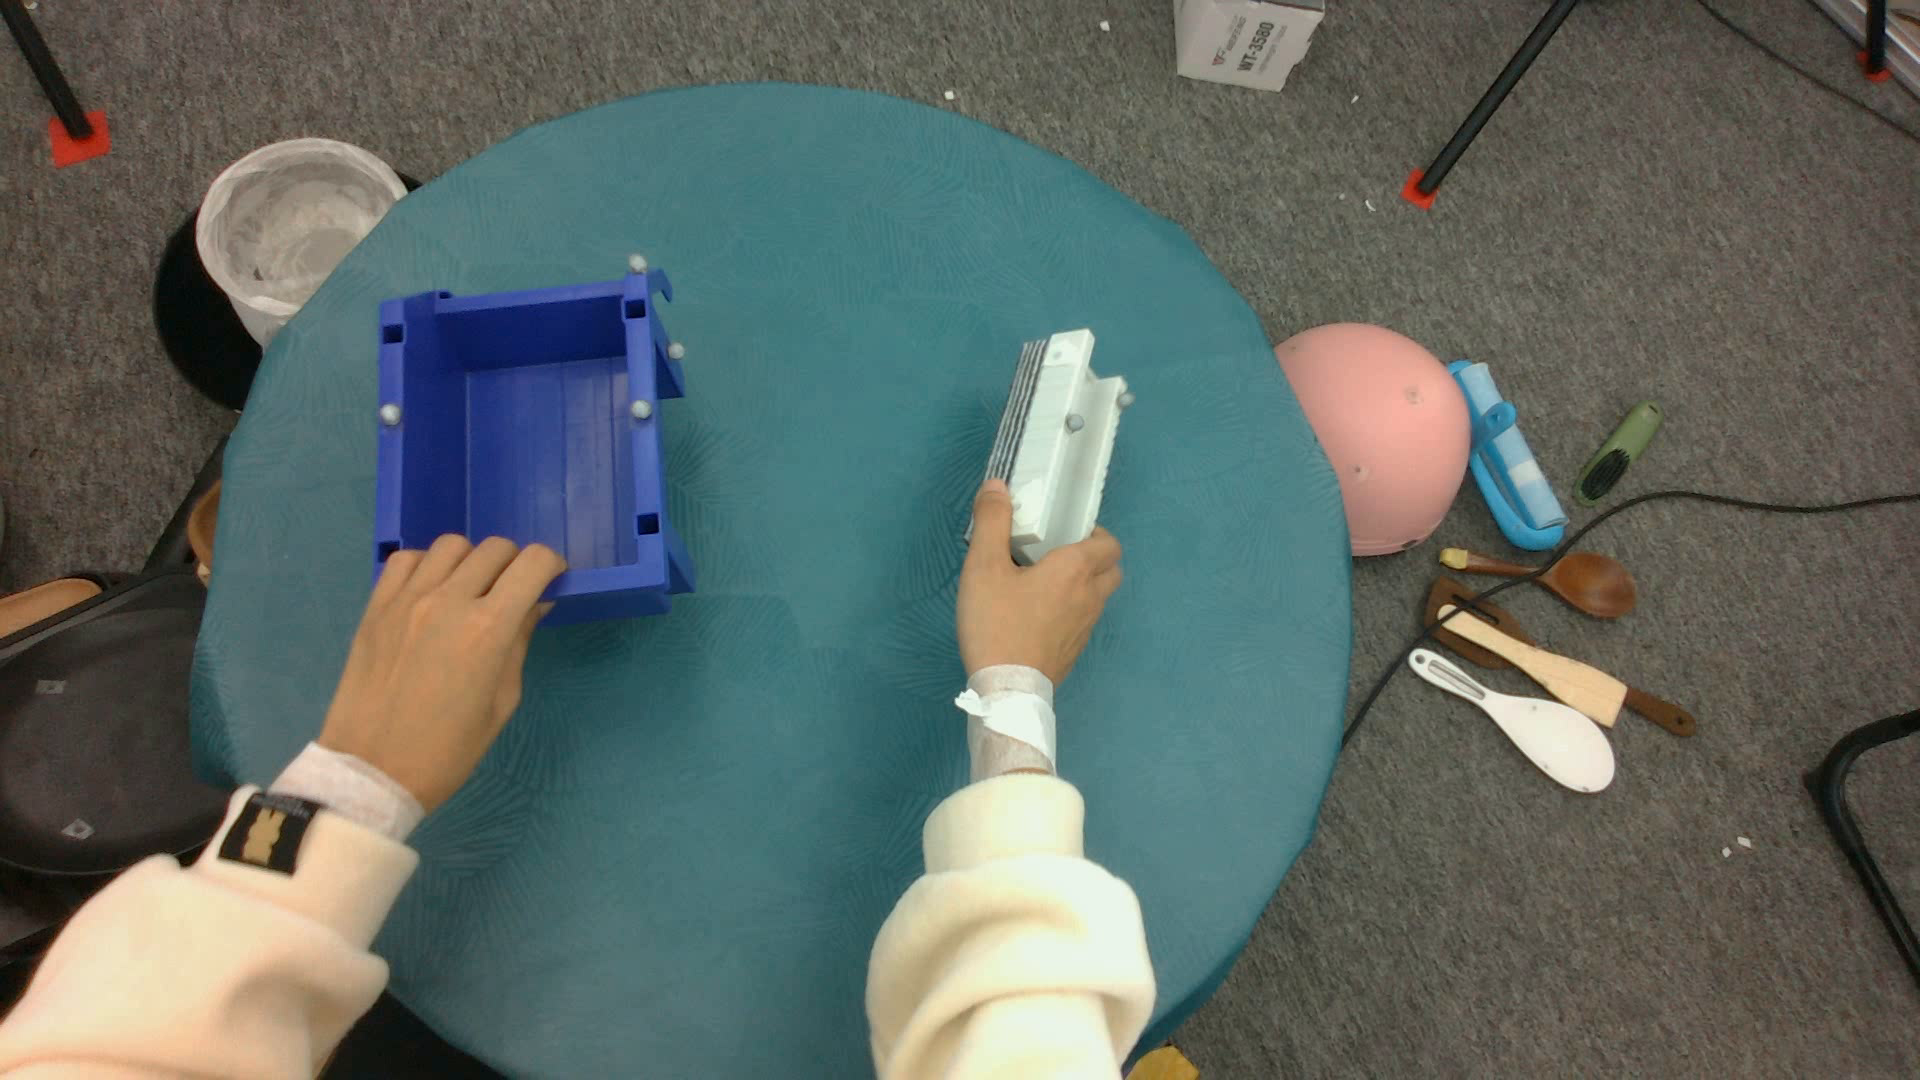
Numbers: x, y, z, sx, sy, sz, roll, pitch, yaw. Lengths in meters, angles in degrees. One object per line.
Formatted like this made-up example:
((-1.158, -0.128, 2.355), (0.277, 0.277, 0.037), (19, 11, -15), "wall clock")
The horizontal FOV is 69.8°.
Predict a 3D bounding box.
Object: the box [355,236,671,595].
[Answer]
((-0.206, -0.063, 0.645), (0.124, 0.081, 0.180), (-5, 72, -3), "box")

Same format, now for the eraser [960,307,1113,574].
((0.040, -0.051, 0.716), (0.046, 0.049, 0.135), (-9, 54, 32), "eraser")
